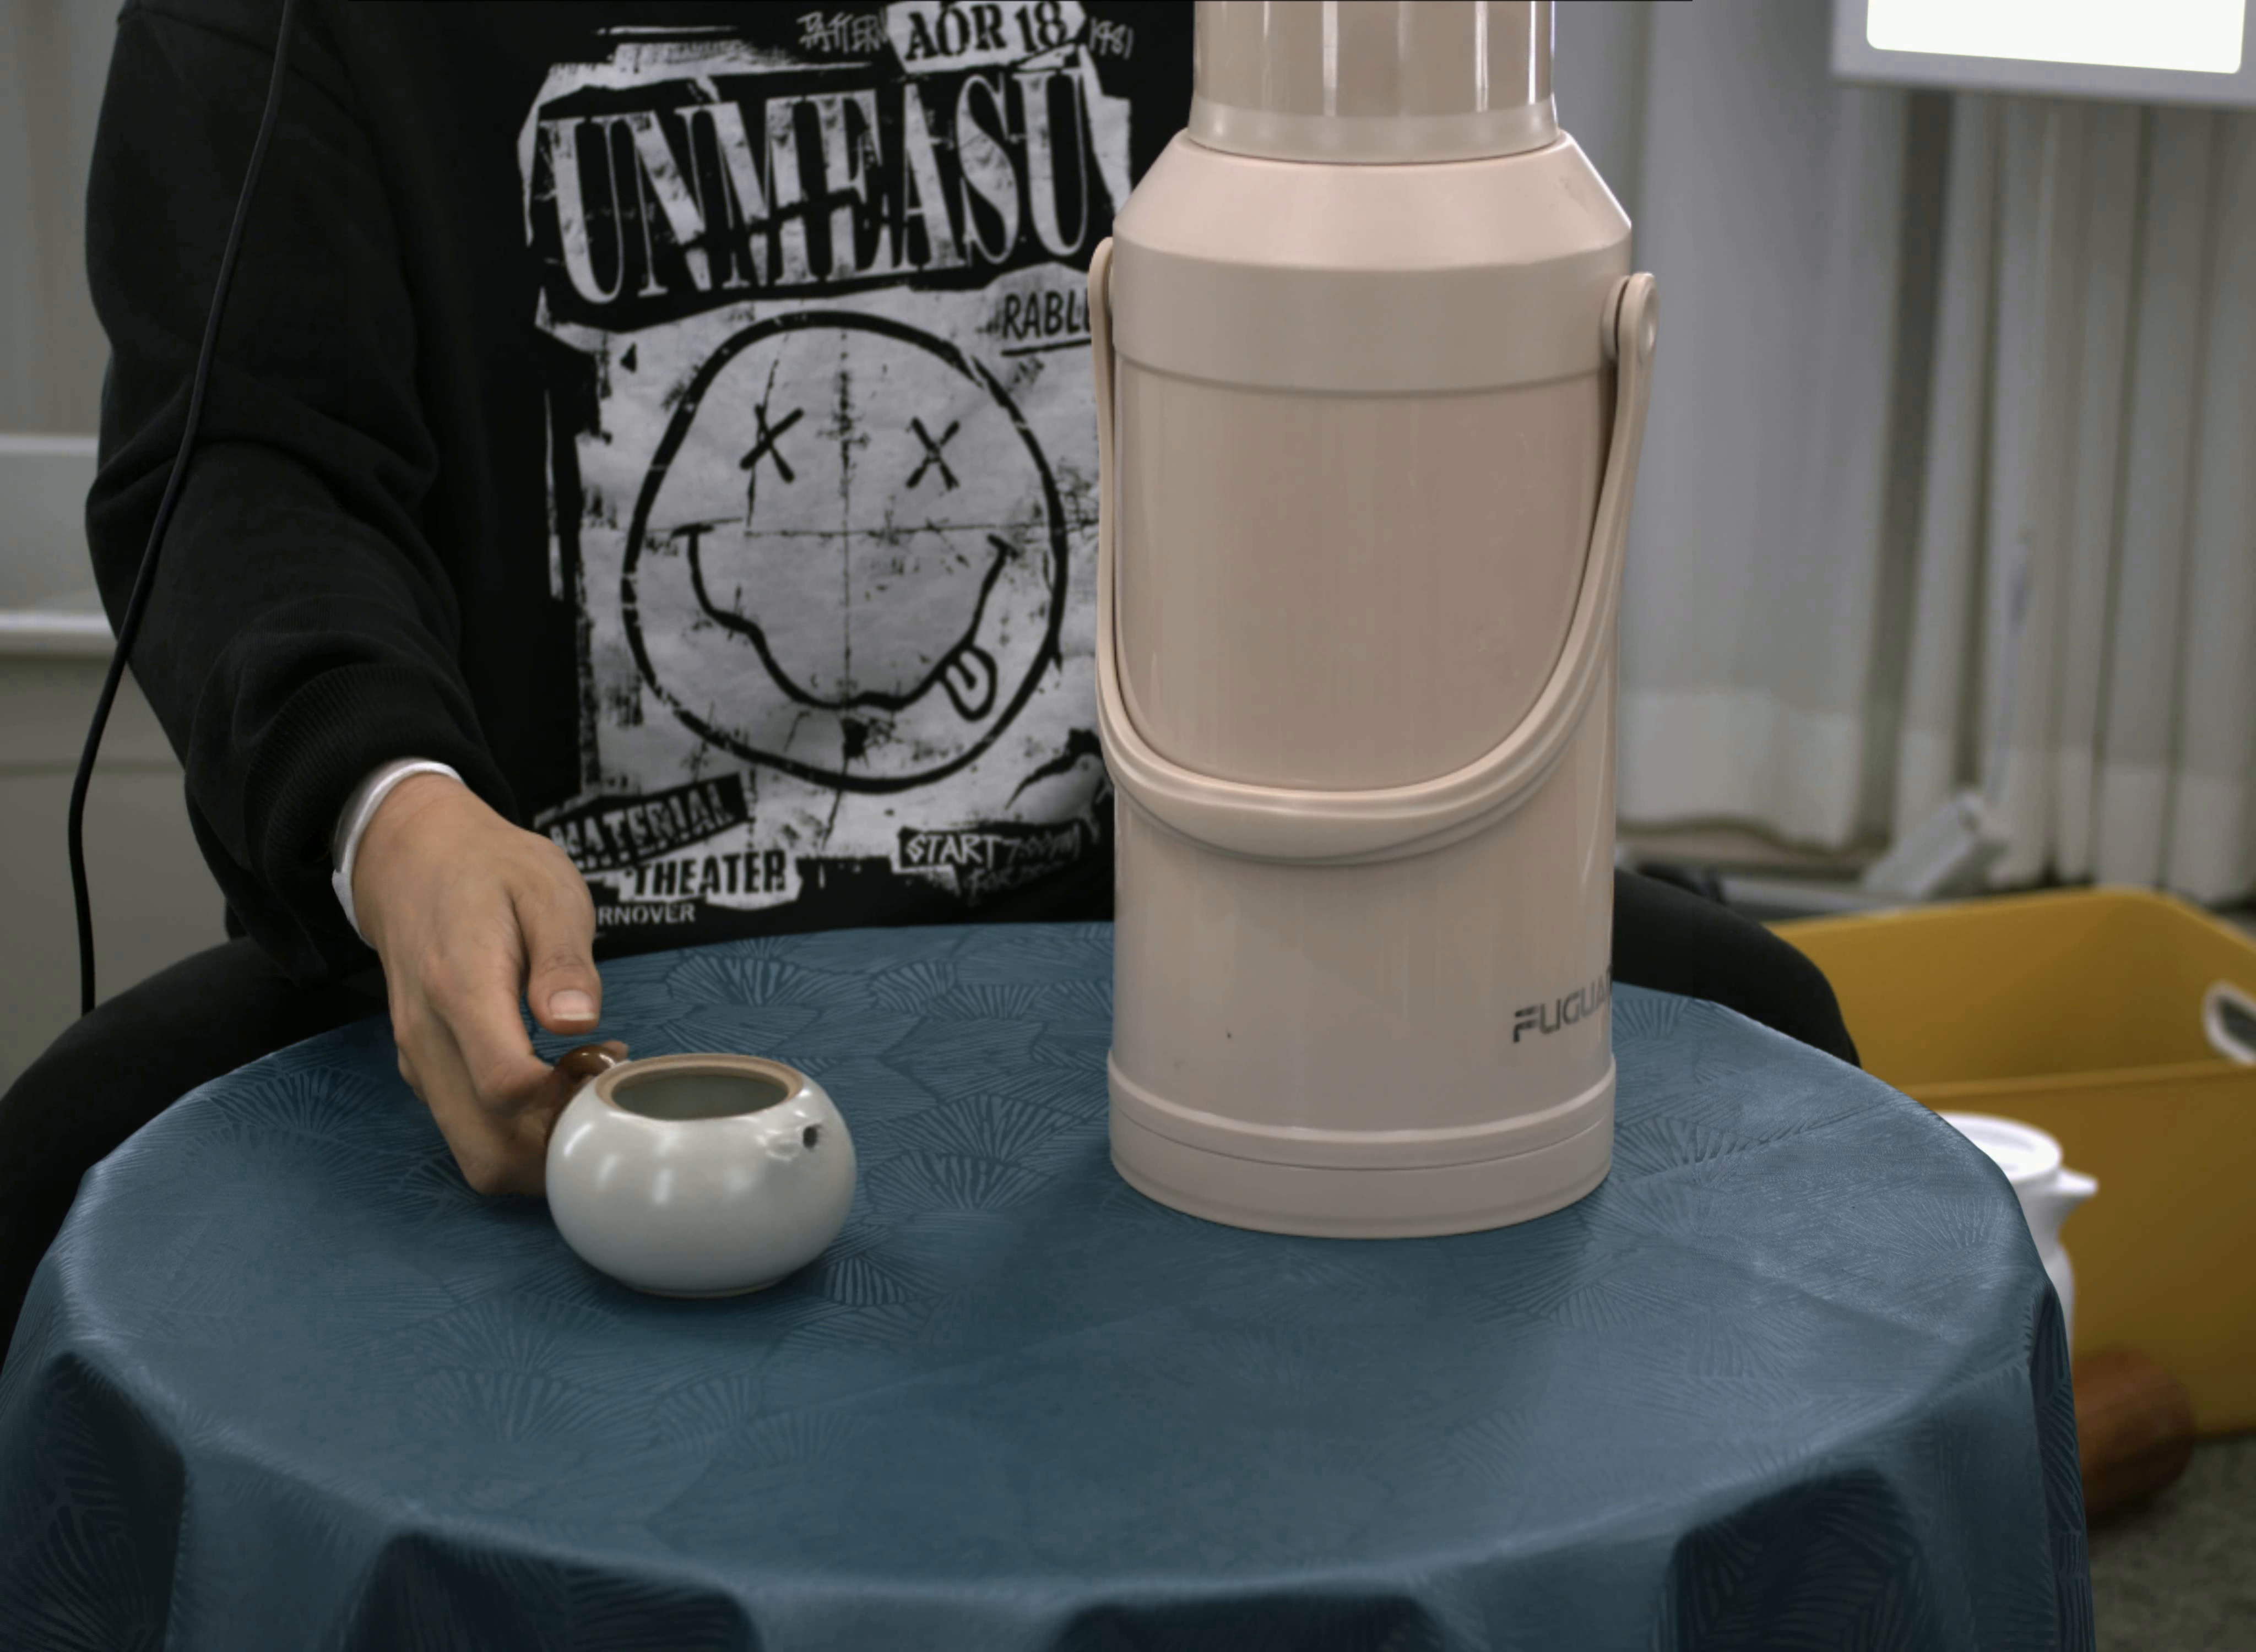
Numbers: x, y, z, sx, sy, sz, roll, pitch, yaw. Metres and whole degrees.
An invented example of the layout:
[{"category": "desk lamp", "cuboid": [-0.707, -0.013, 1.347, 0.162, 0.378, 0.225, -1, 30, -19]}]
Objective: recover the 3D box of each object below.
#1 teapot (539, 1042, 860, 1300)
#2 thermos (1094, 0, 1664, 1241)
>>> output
[{"category": "teapot", "cuboid": [-0.132, 0.100, 1.553, 0.126, 0.060, 0.092, 17, 25, 41]}, {"category": "thermos", "cuboid": [0.081, -0.091, 1.613, 0.173, 0.410, 0.207, 5, 17, 20]}]
